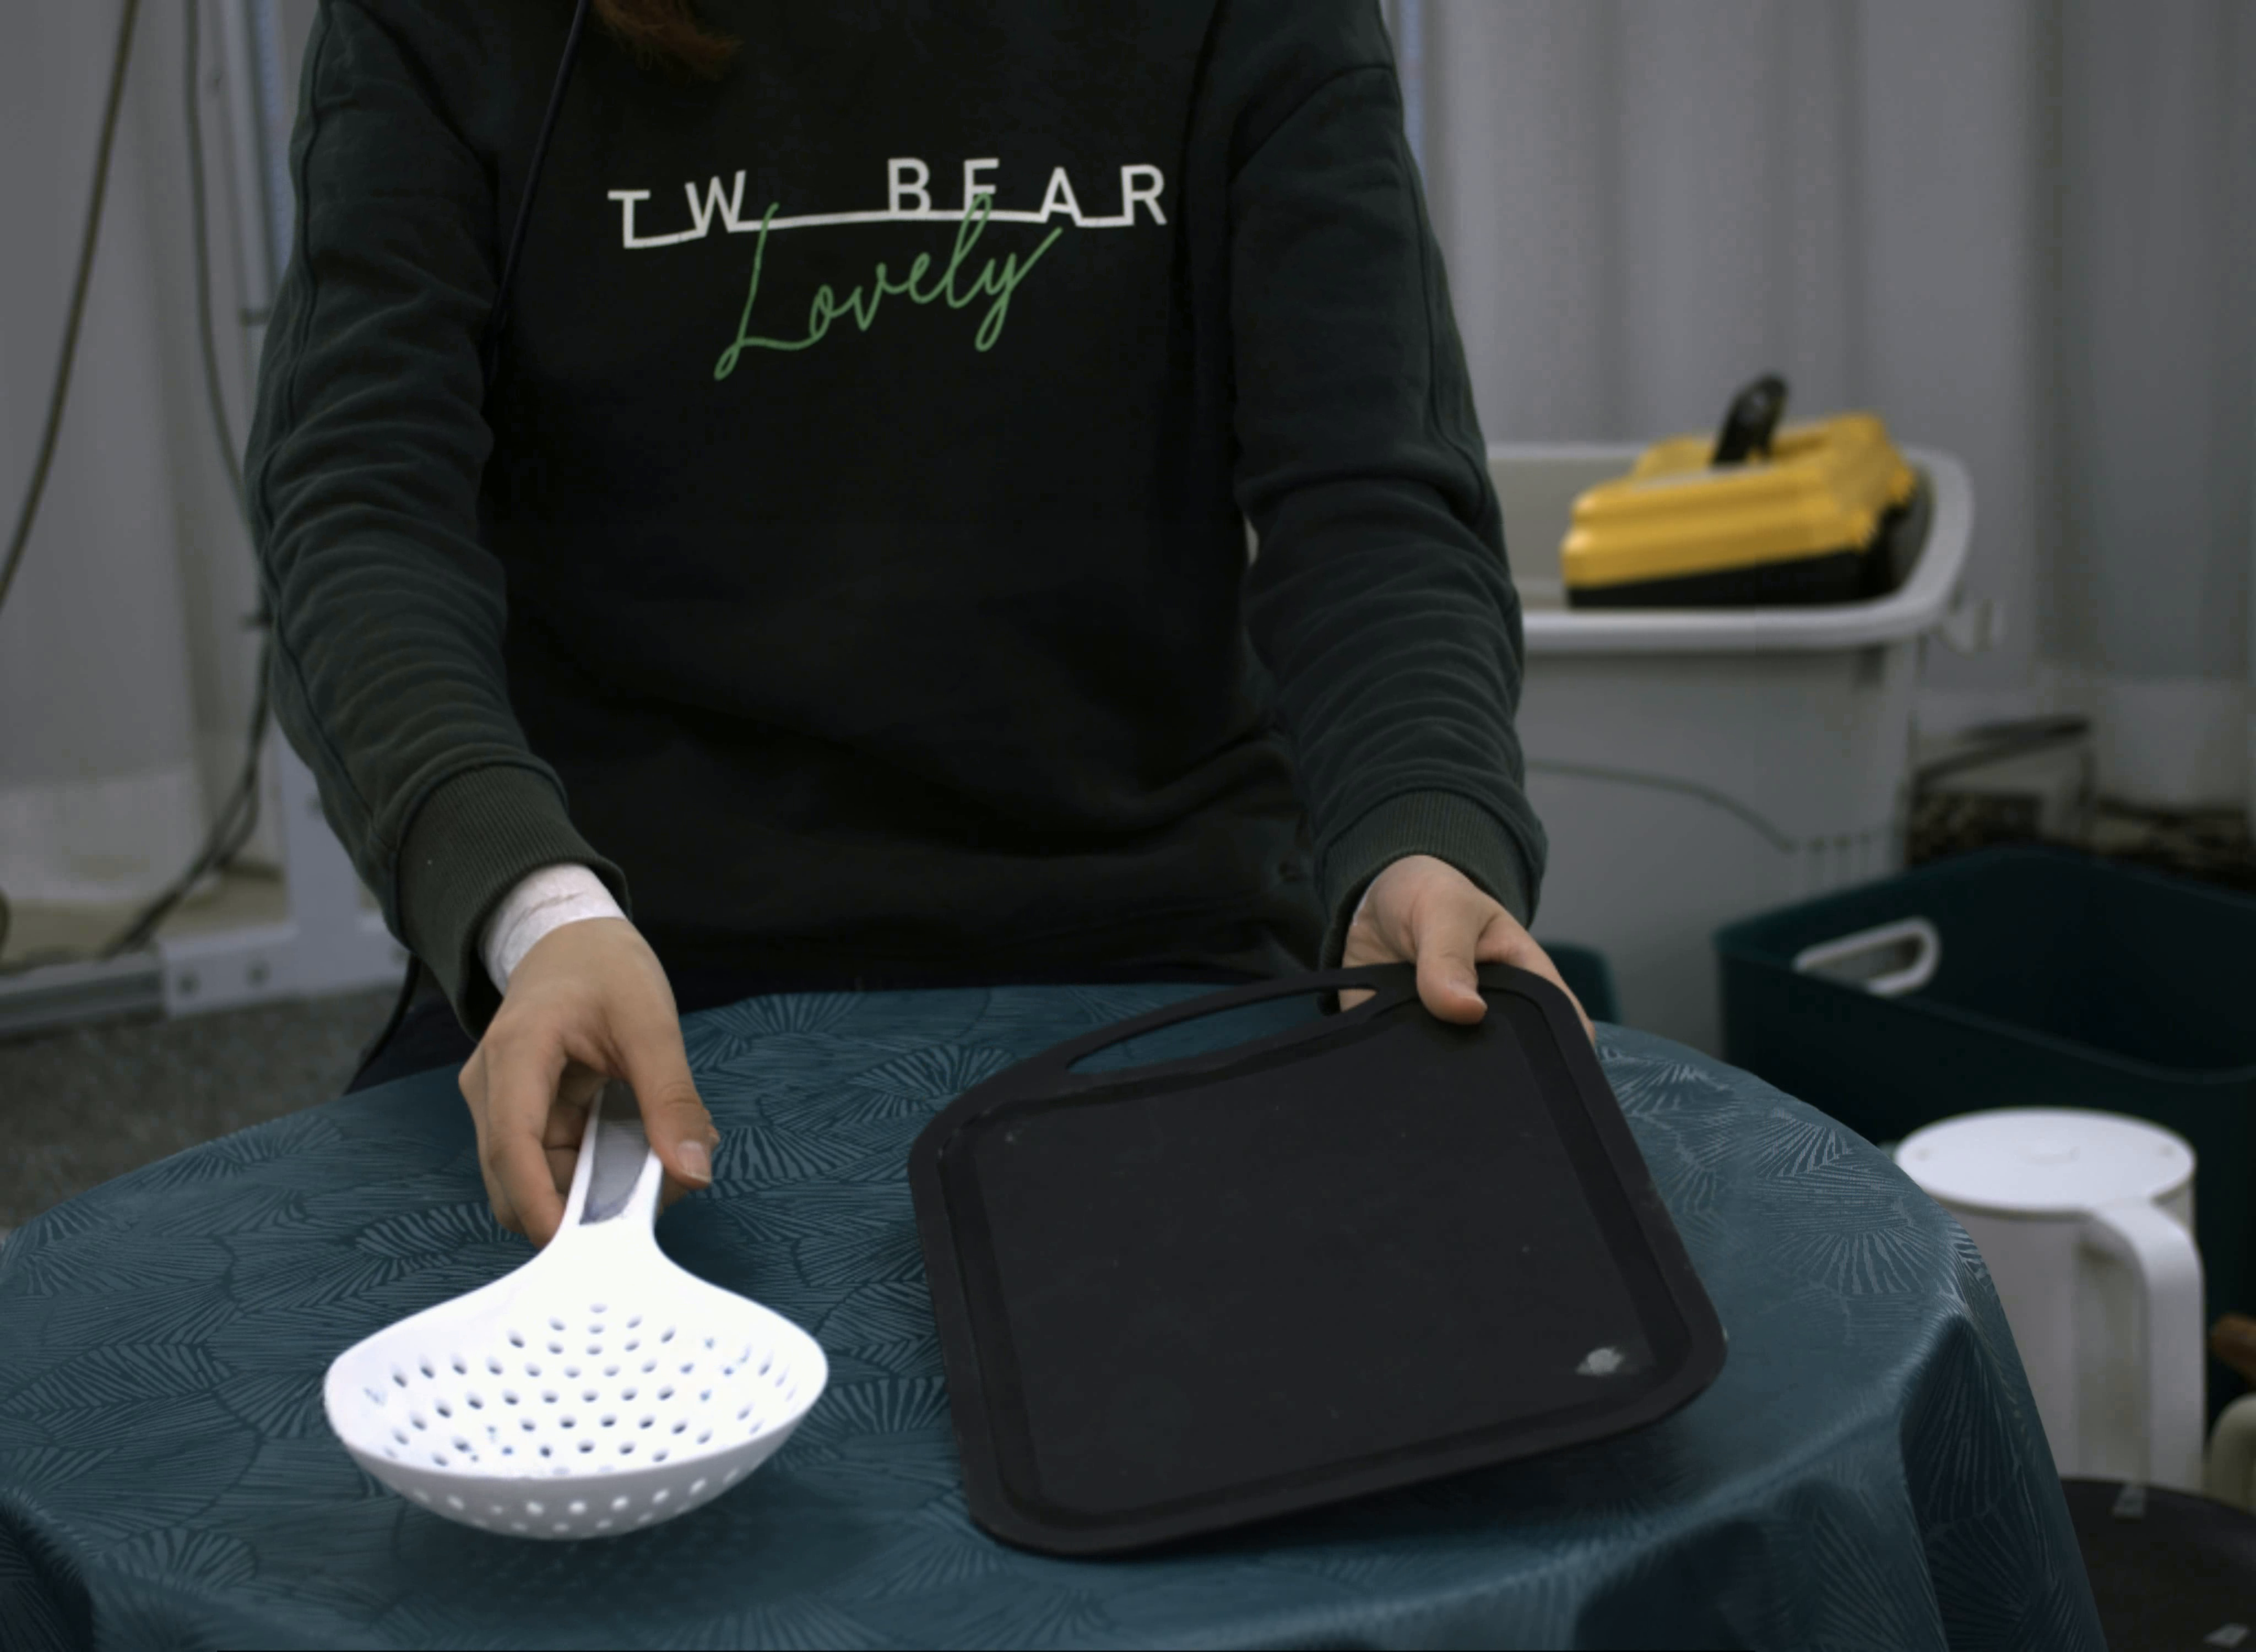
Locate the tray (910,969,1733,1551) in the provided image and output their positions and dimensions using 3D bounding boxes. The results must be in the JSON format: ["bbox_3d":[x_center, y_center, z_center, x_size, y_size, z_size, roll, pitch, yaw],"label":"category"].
[{"bbox_3d":[0.046,0.114,1.571,0.210,0.010,0.329,-12,23,-2],"label":"tray"}]

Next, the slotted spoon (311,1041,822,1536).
[{"bbox_3d":[-0.150,0.123,1.558,0.135,0.045,0.353,0,21,-1],"label":"slotted spoon"}]
